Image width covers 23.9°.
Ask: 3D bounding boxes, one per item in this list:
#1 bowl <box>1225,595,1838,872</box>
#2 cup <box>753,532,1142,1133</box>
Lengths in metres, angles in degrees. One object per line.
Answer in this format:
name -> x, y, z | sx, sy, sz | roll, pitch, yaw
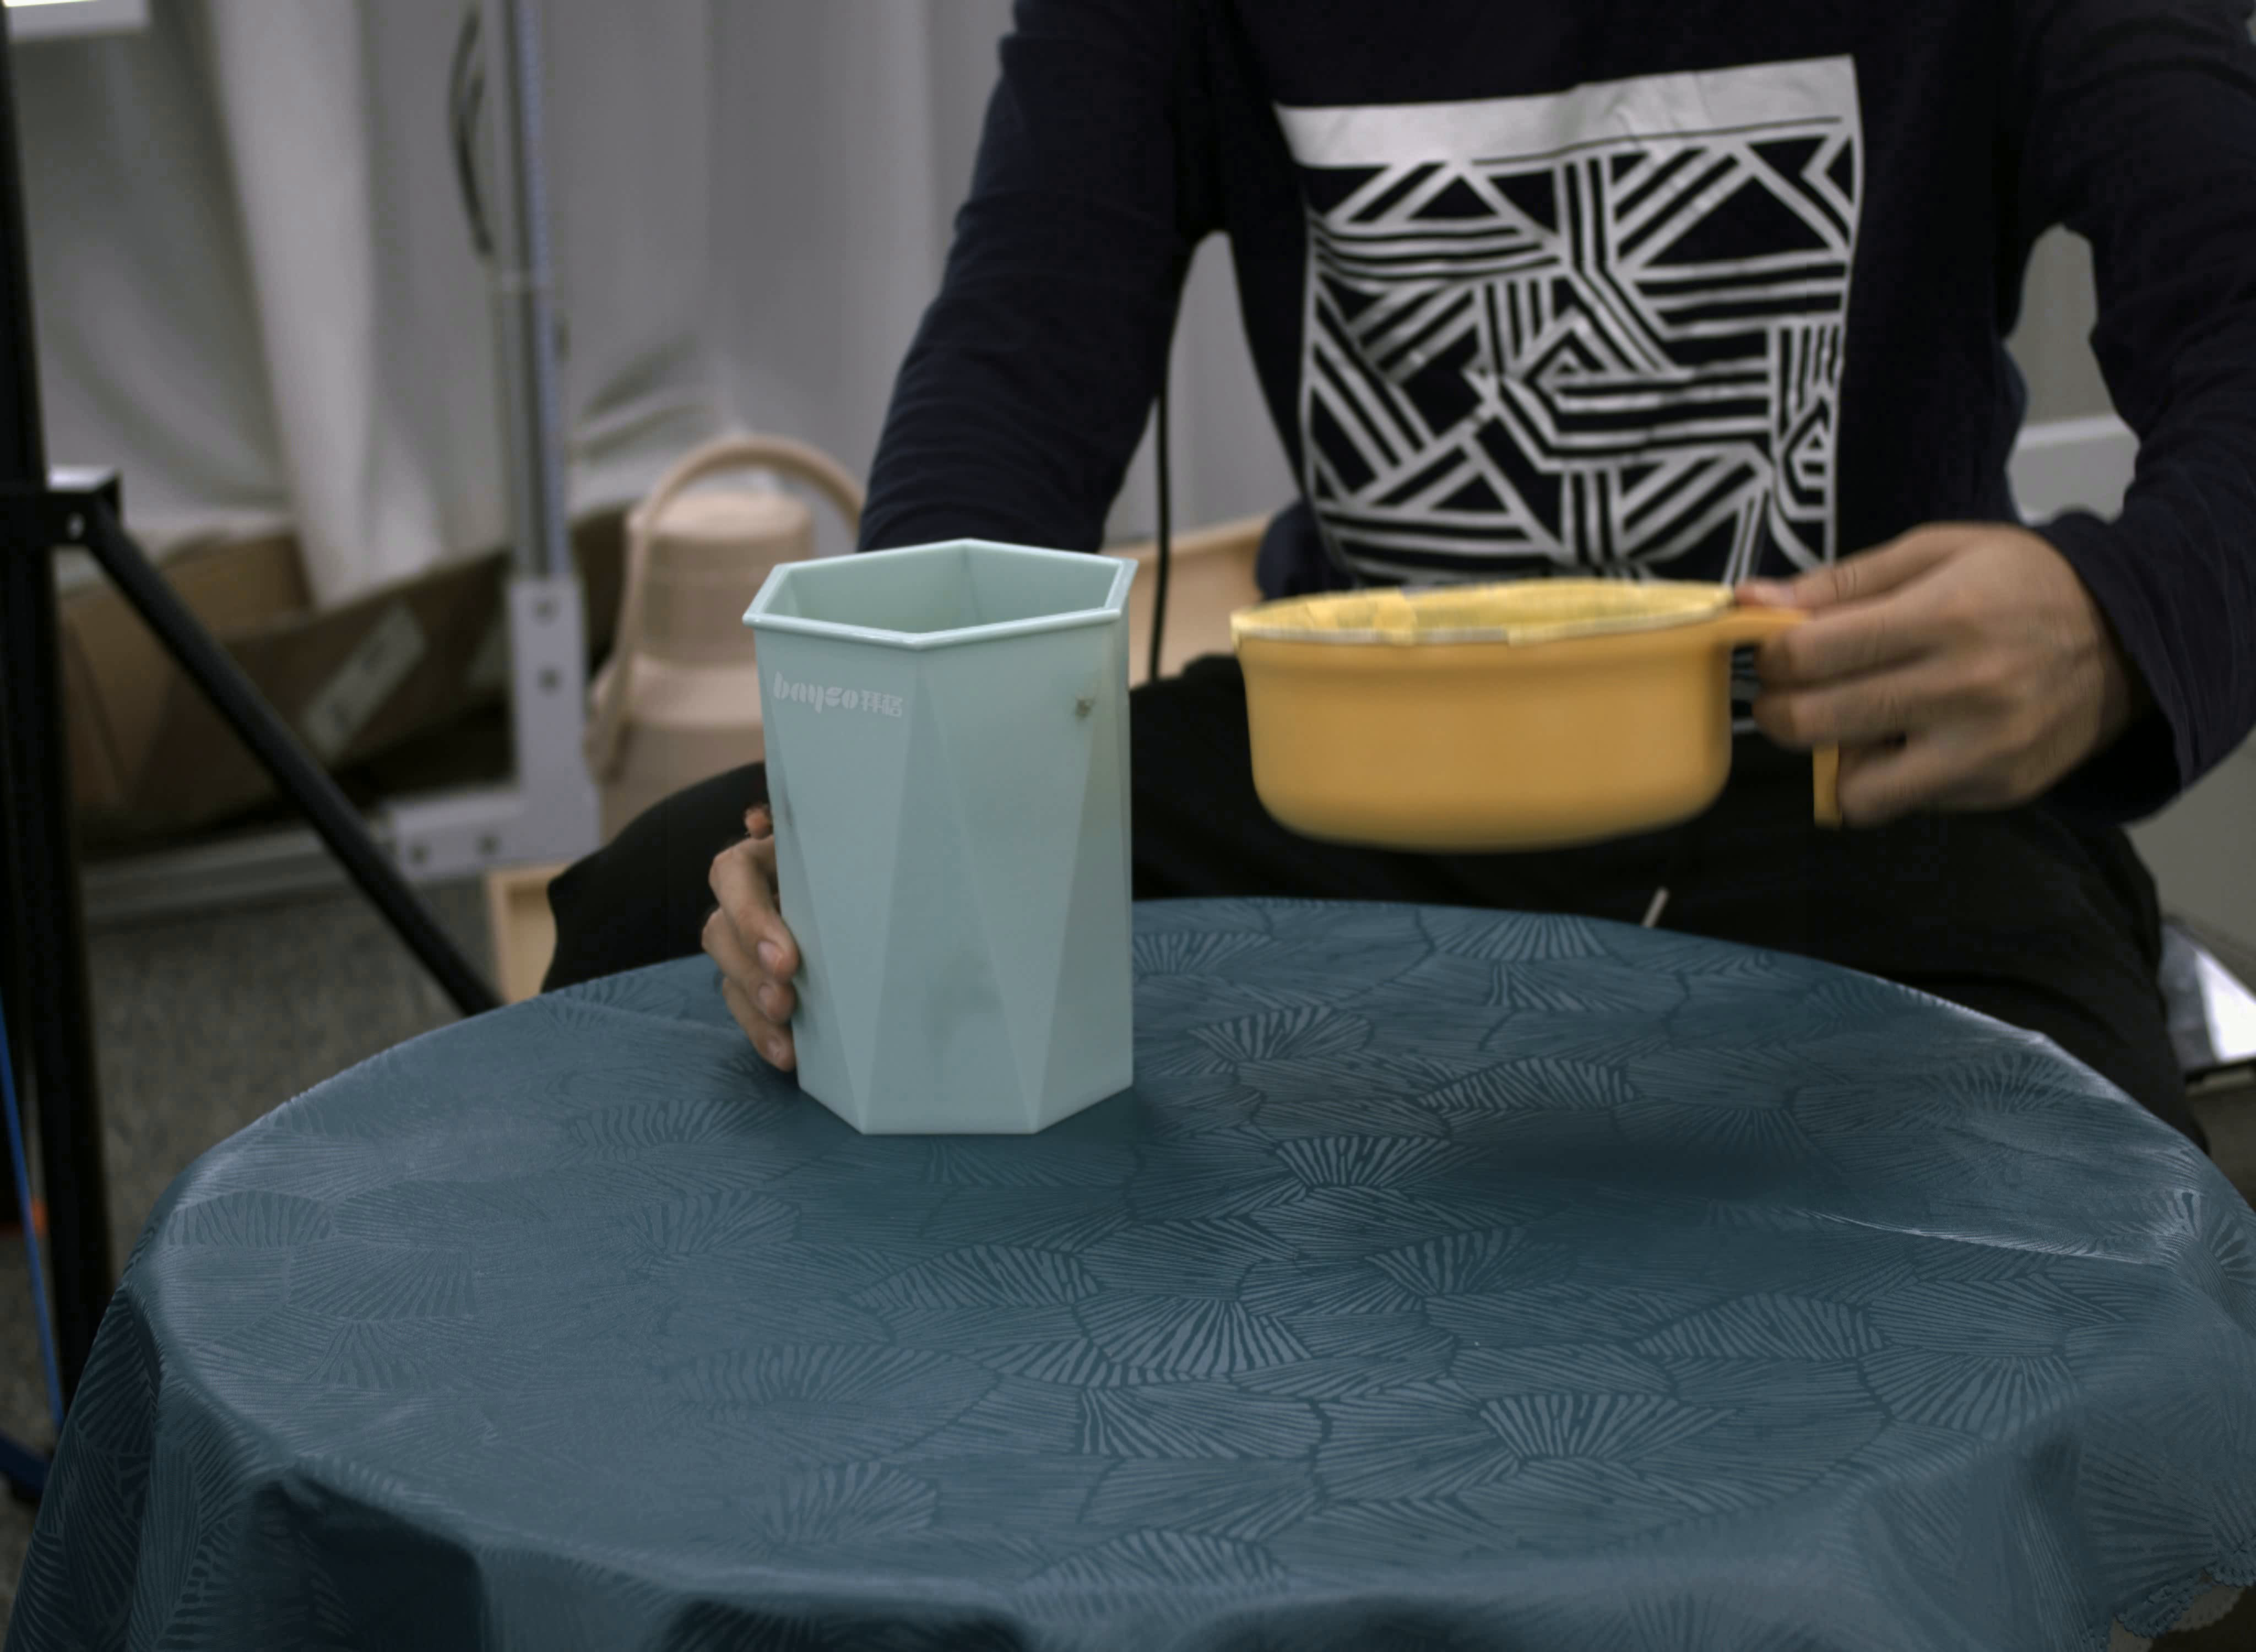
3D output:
bowl -> 0.120, -0.027, 1.572 | 0.180, 0.074, 0.152 | -3, 5, 9
cup -> -0.055, 0.003, 1.640 | 0.133, 0.163, 0.113 | 10, 17, 32
